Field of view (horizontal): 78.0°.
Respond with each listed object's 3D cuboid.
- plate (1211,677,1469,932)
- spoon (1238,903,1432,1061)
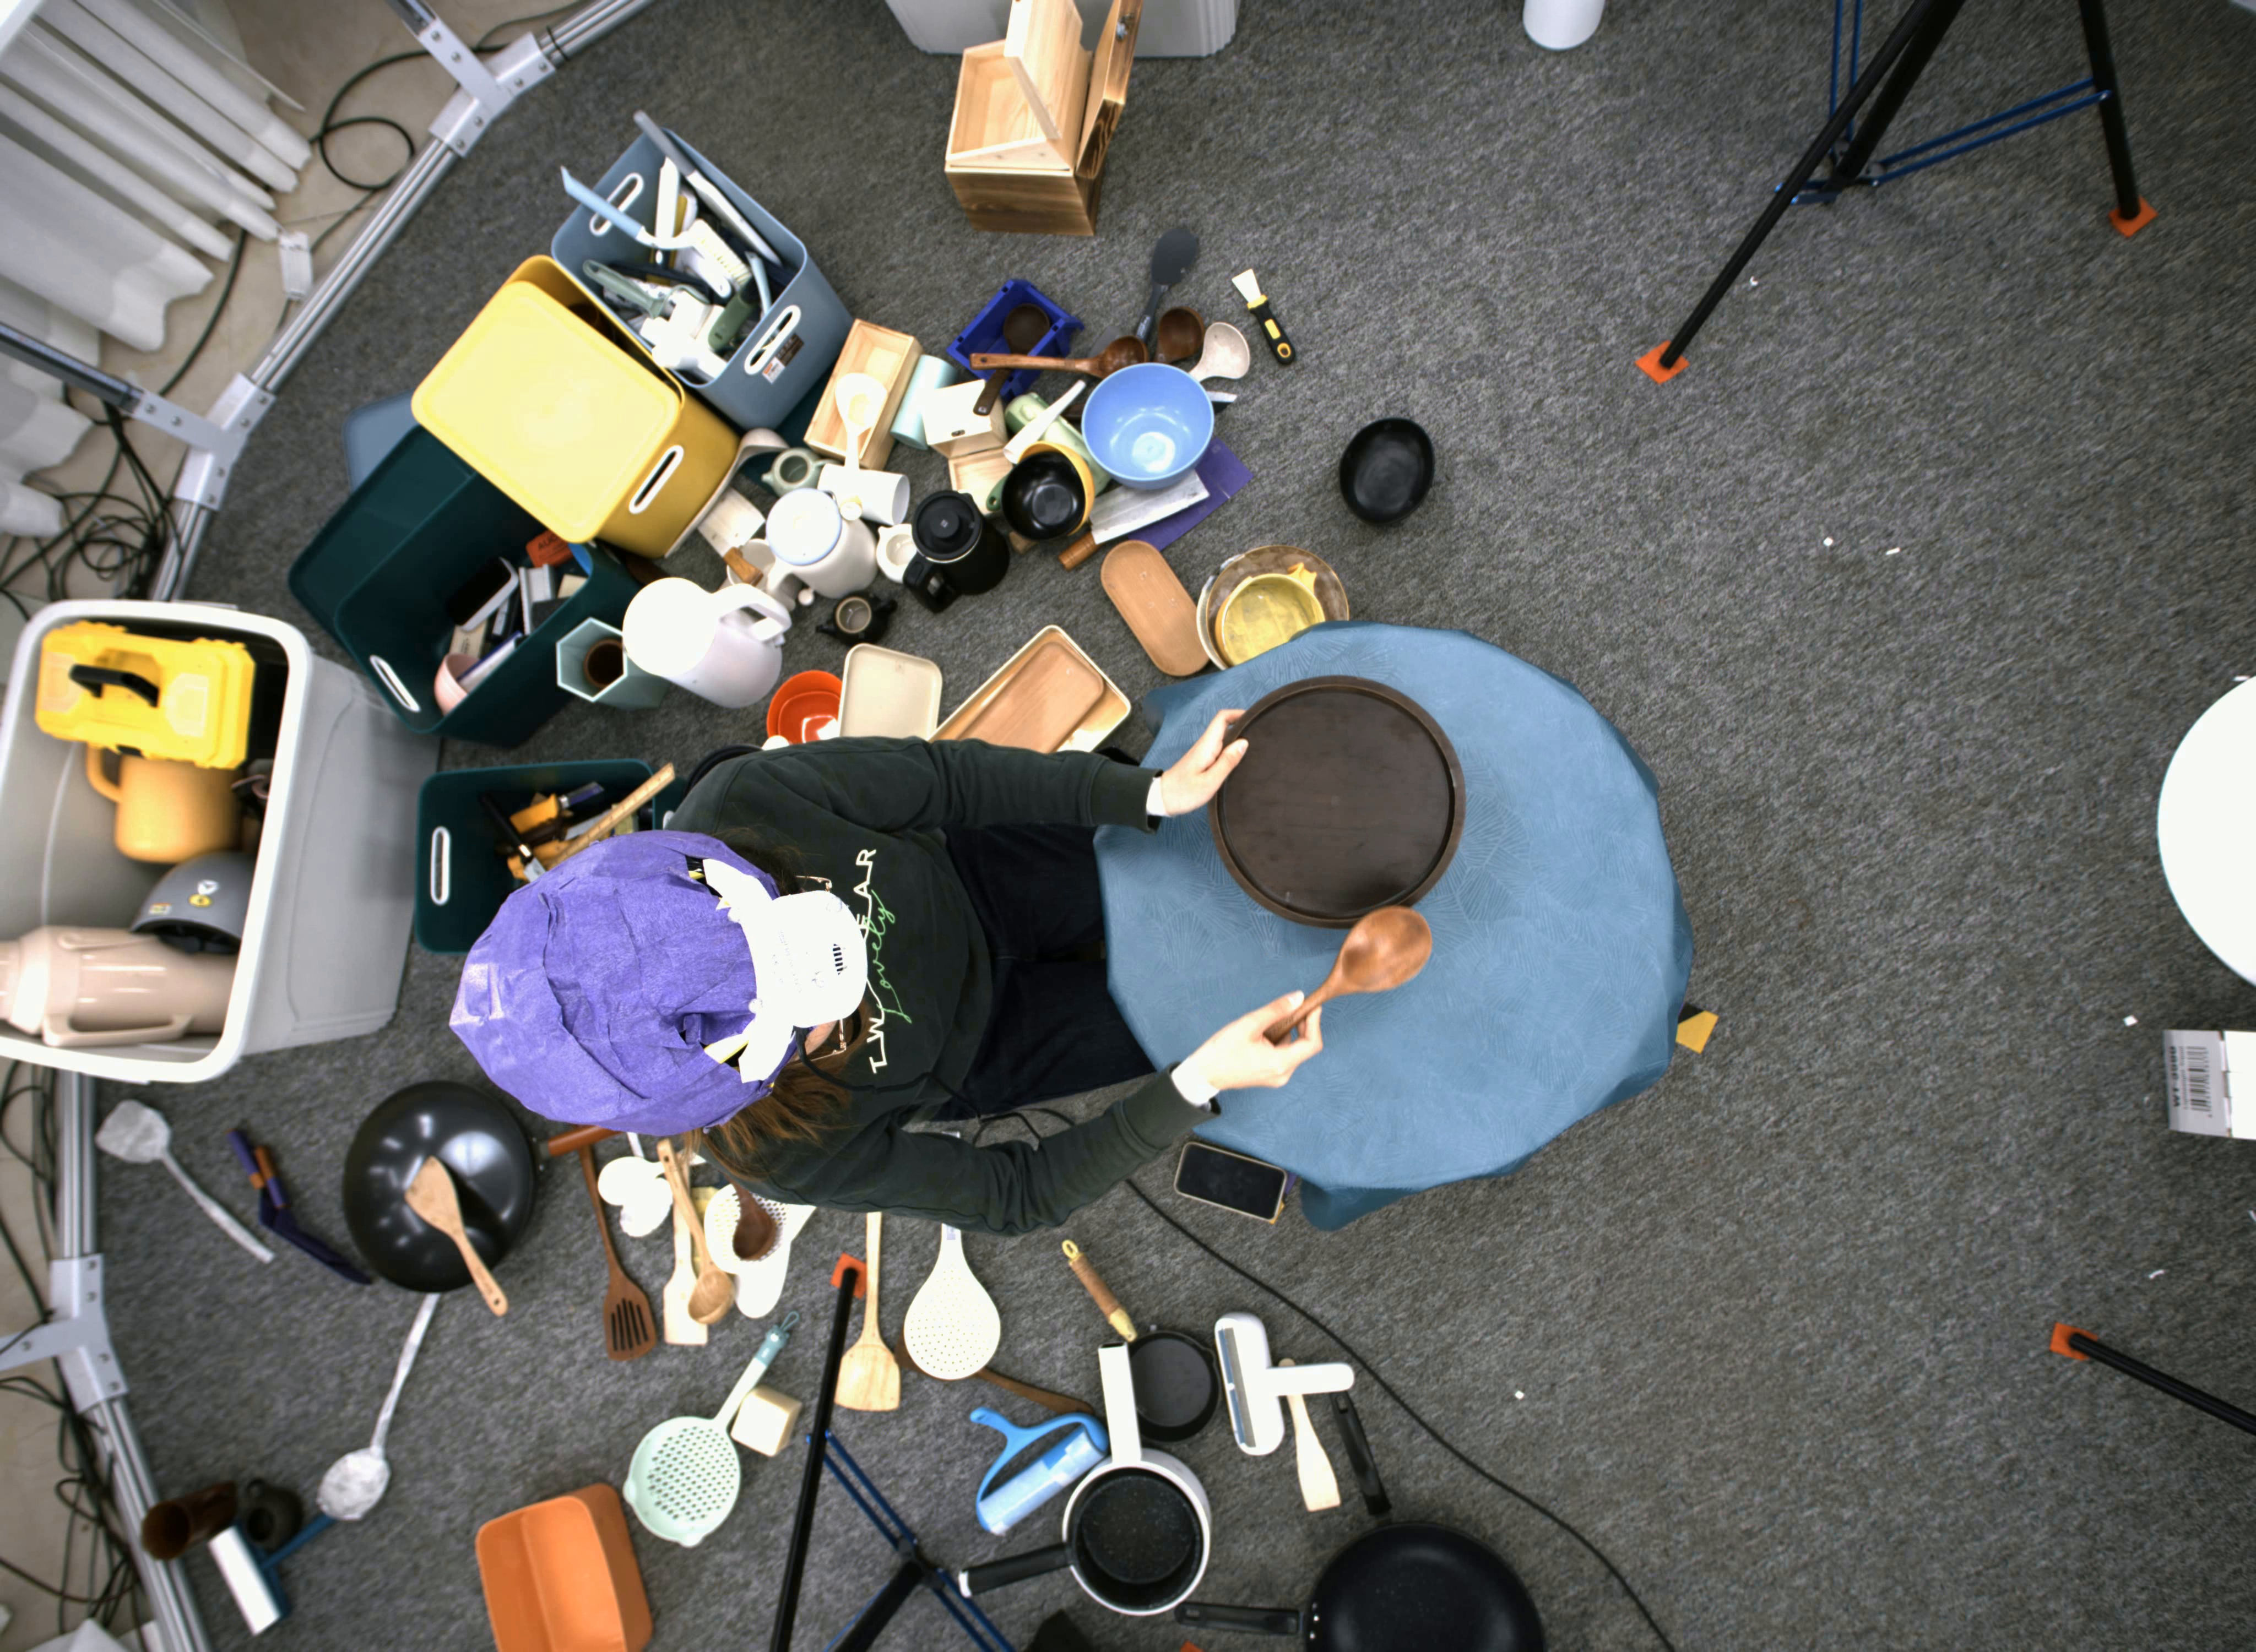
[{"bbox_3d":[0.207,-0.022,1.363,0.256,0.029,0.257,2,100,11],"label":"plate"},{"bbox_3d":[0.192,0.149,1.302,0.217,0.017,0.076,-38,100,6],"label":"spoon"}]
